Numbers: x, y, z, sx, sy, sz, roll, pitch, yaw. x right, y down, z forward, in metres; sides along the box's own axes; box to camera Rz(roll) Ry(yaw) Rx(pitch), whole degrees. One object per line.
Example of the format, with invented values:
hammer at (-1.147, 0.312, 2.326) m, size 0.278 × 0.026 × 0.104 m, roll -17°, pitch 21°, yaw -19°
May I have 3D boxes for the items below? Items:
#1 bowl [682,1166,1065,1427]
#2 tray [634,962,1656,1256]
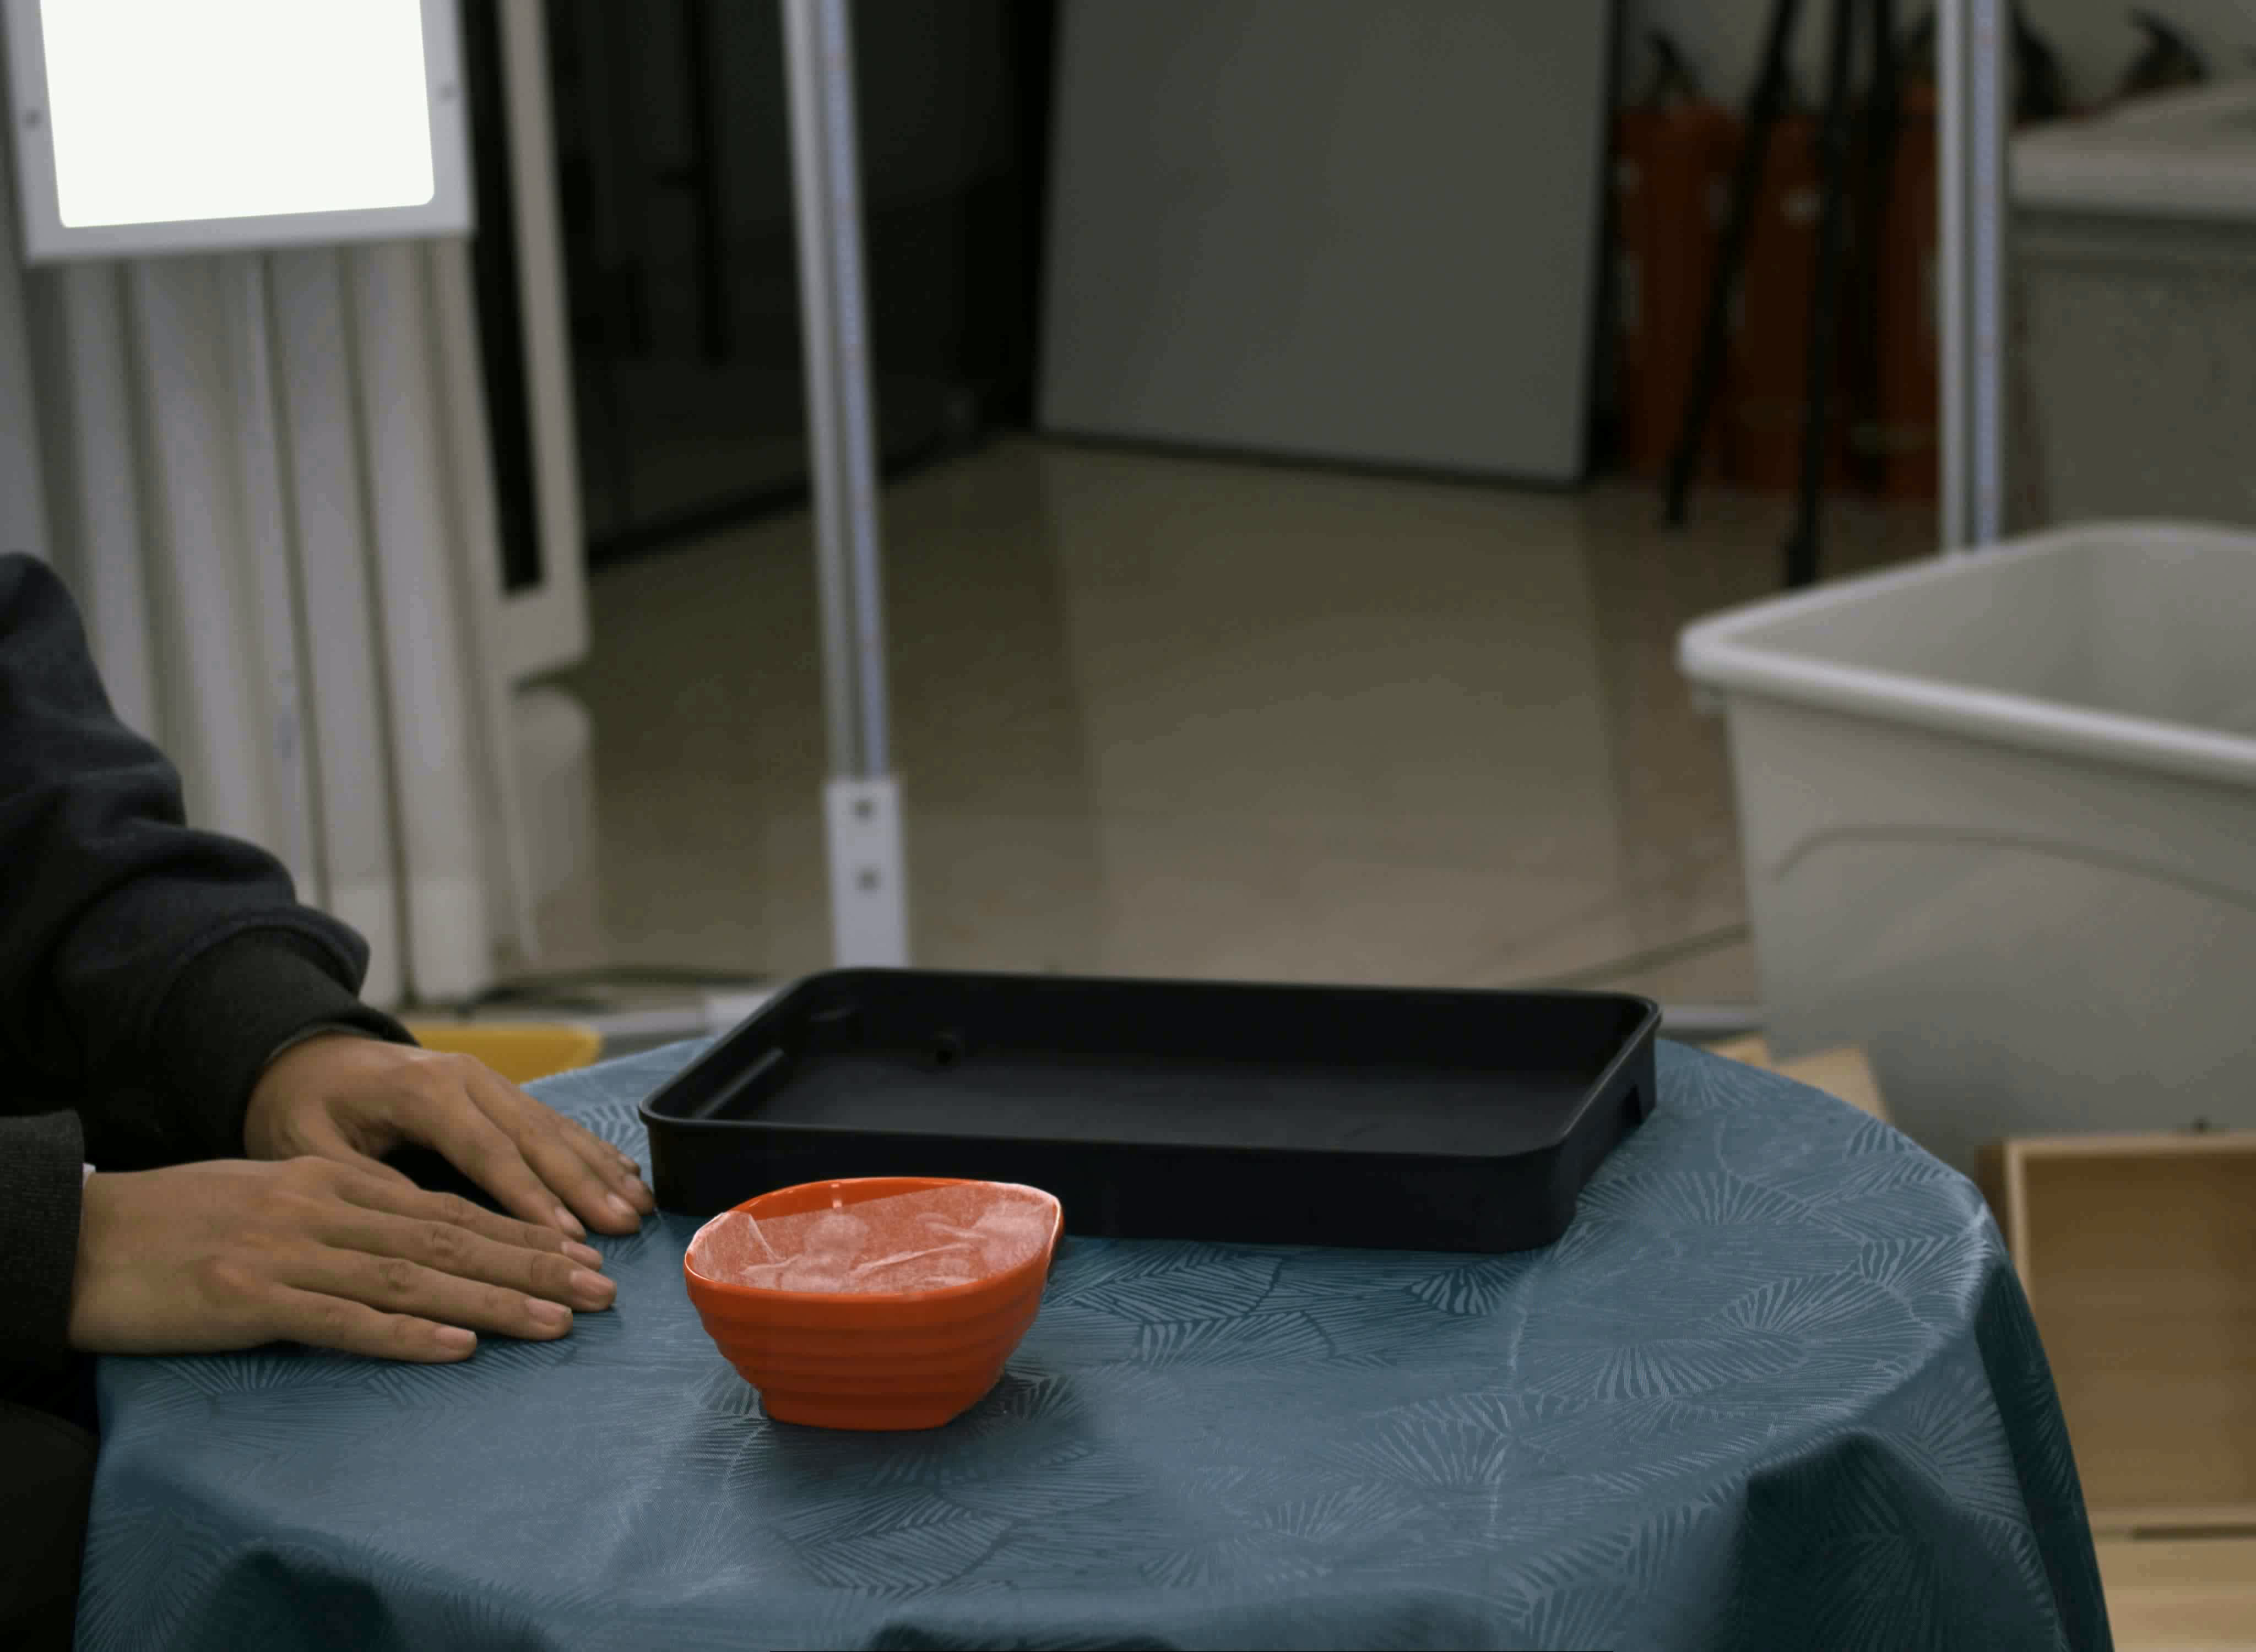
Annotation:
bowl at (-0.073, 0.141, 1.591) m, size 0.117 × 0.052 × 0.119 m, roll -2°, pitch 15°, yaw 0°
tray at (0.008, 0.092, 1.803) m, size 0.317 × 0.037 × 0.182 m, roll 2°, pitch 14°, yaw 19°
